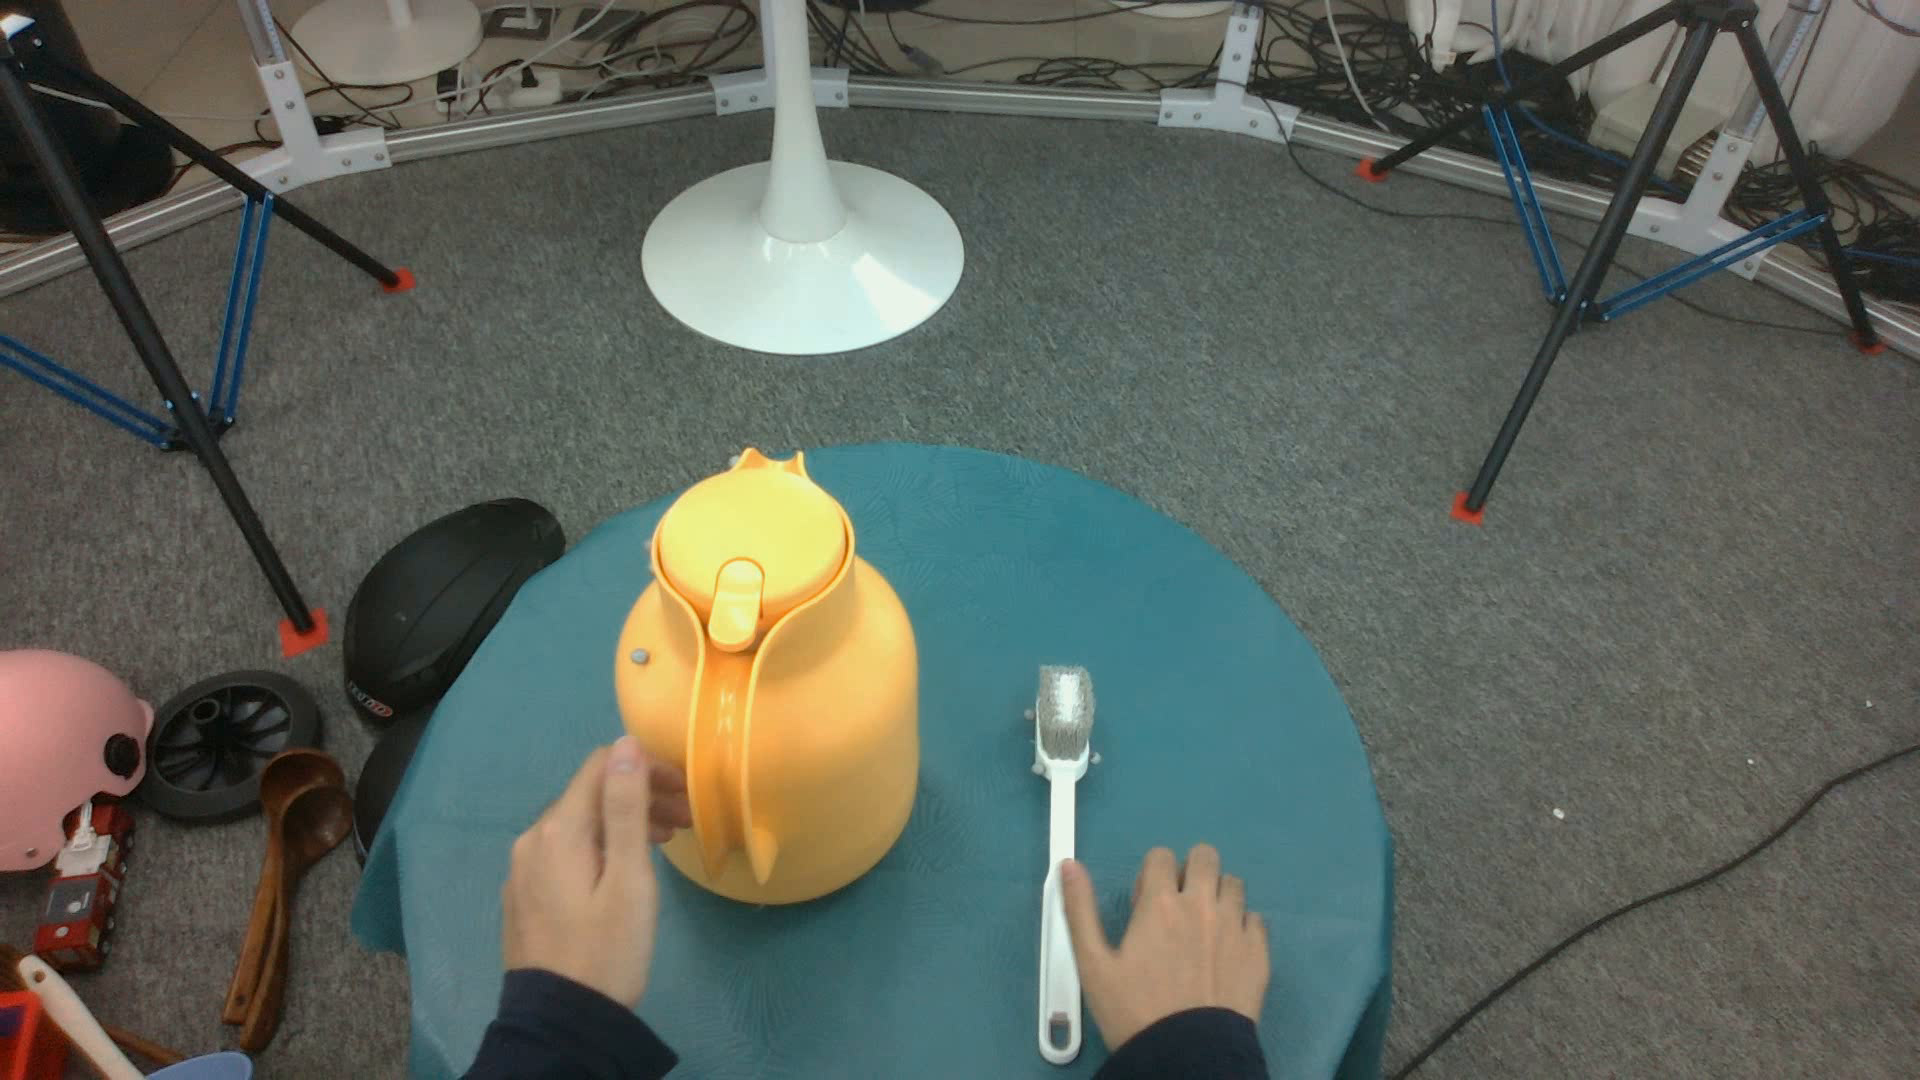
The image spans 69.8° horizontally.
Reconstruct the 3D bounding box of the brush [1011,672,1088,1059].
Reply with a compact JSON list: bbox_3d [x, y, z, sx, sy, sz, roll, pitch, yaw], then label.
[{"bbox_3d":[0.053,0.181,0.821,0.034,0.050,0.245,9,48,-1],"label":"brush"}]

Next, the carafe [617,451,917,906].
[{"bbox_3d":[-0.109,0.093,0.749,0.163,0.259,0.203,4,47,3],"label":"carafe"}]
